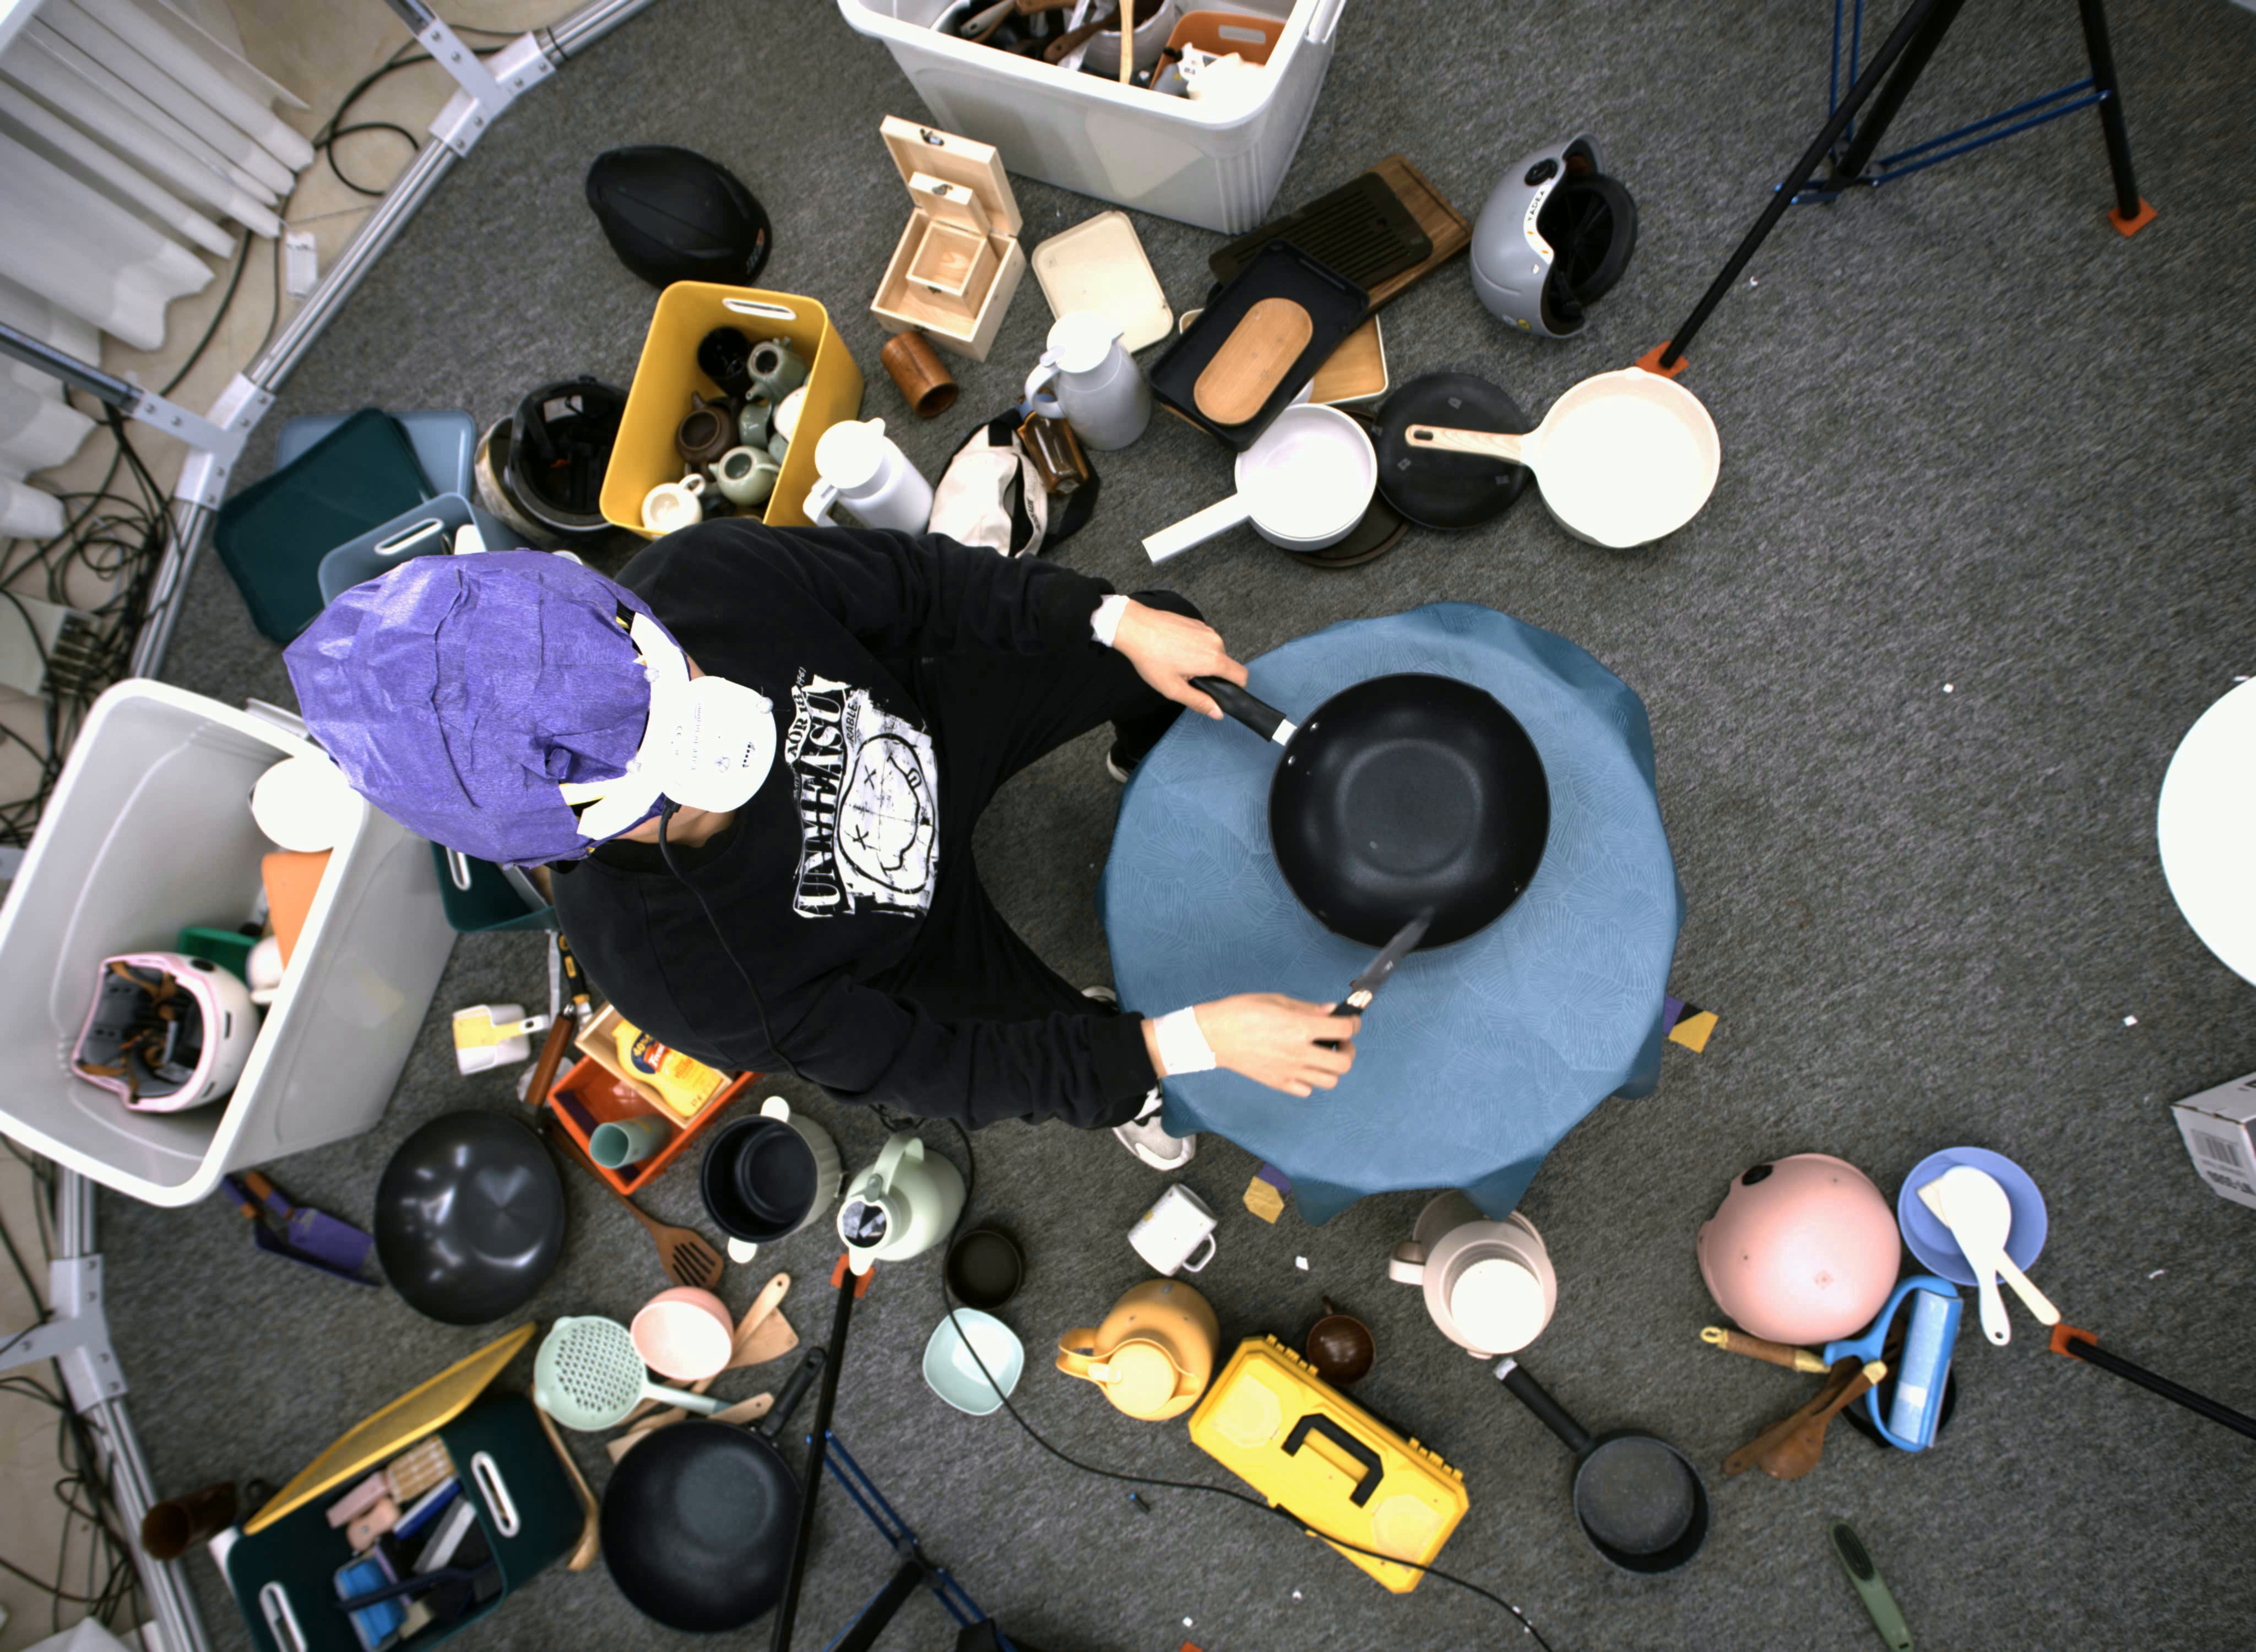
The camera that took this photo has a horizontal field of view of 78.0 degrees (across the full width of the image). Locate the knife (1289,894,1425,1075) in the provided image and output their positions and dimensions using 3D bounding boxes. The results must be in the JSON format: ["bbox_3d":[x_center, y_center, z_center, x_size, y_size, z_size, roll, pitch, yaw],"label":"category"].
[{"bbox_3d":[0.227,0.150,1.342,0.026,0.017,0.223,38,74,16],"label":"knife"}]

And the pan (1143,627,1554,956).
[{"bbox_3d":[0.213,-0.064,1.421,0.462,0.086,0.291,34,103,8],"label":"pan"}]
